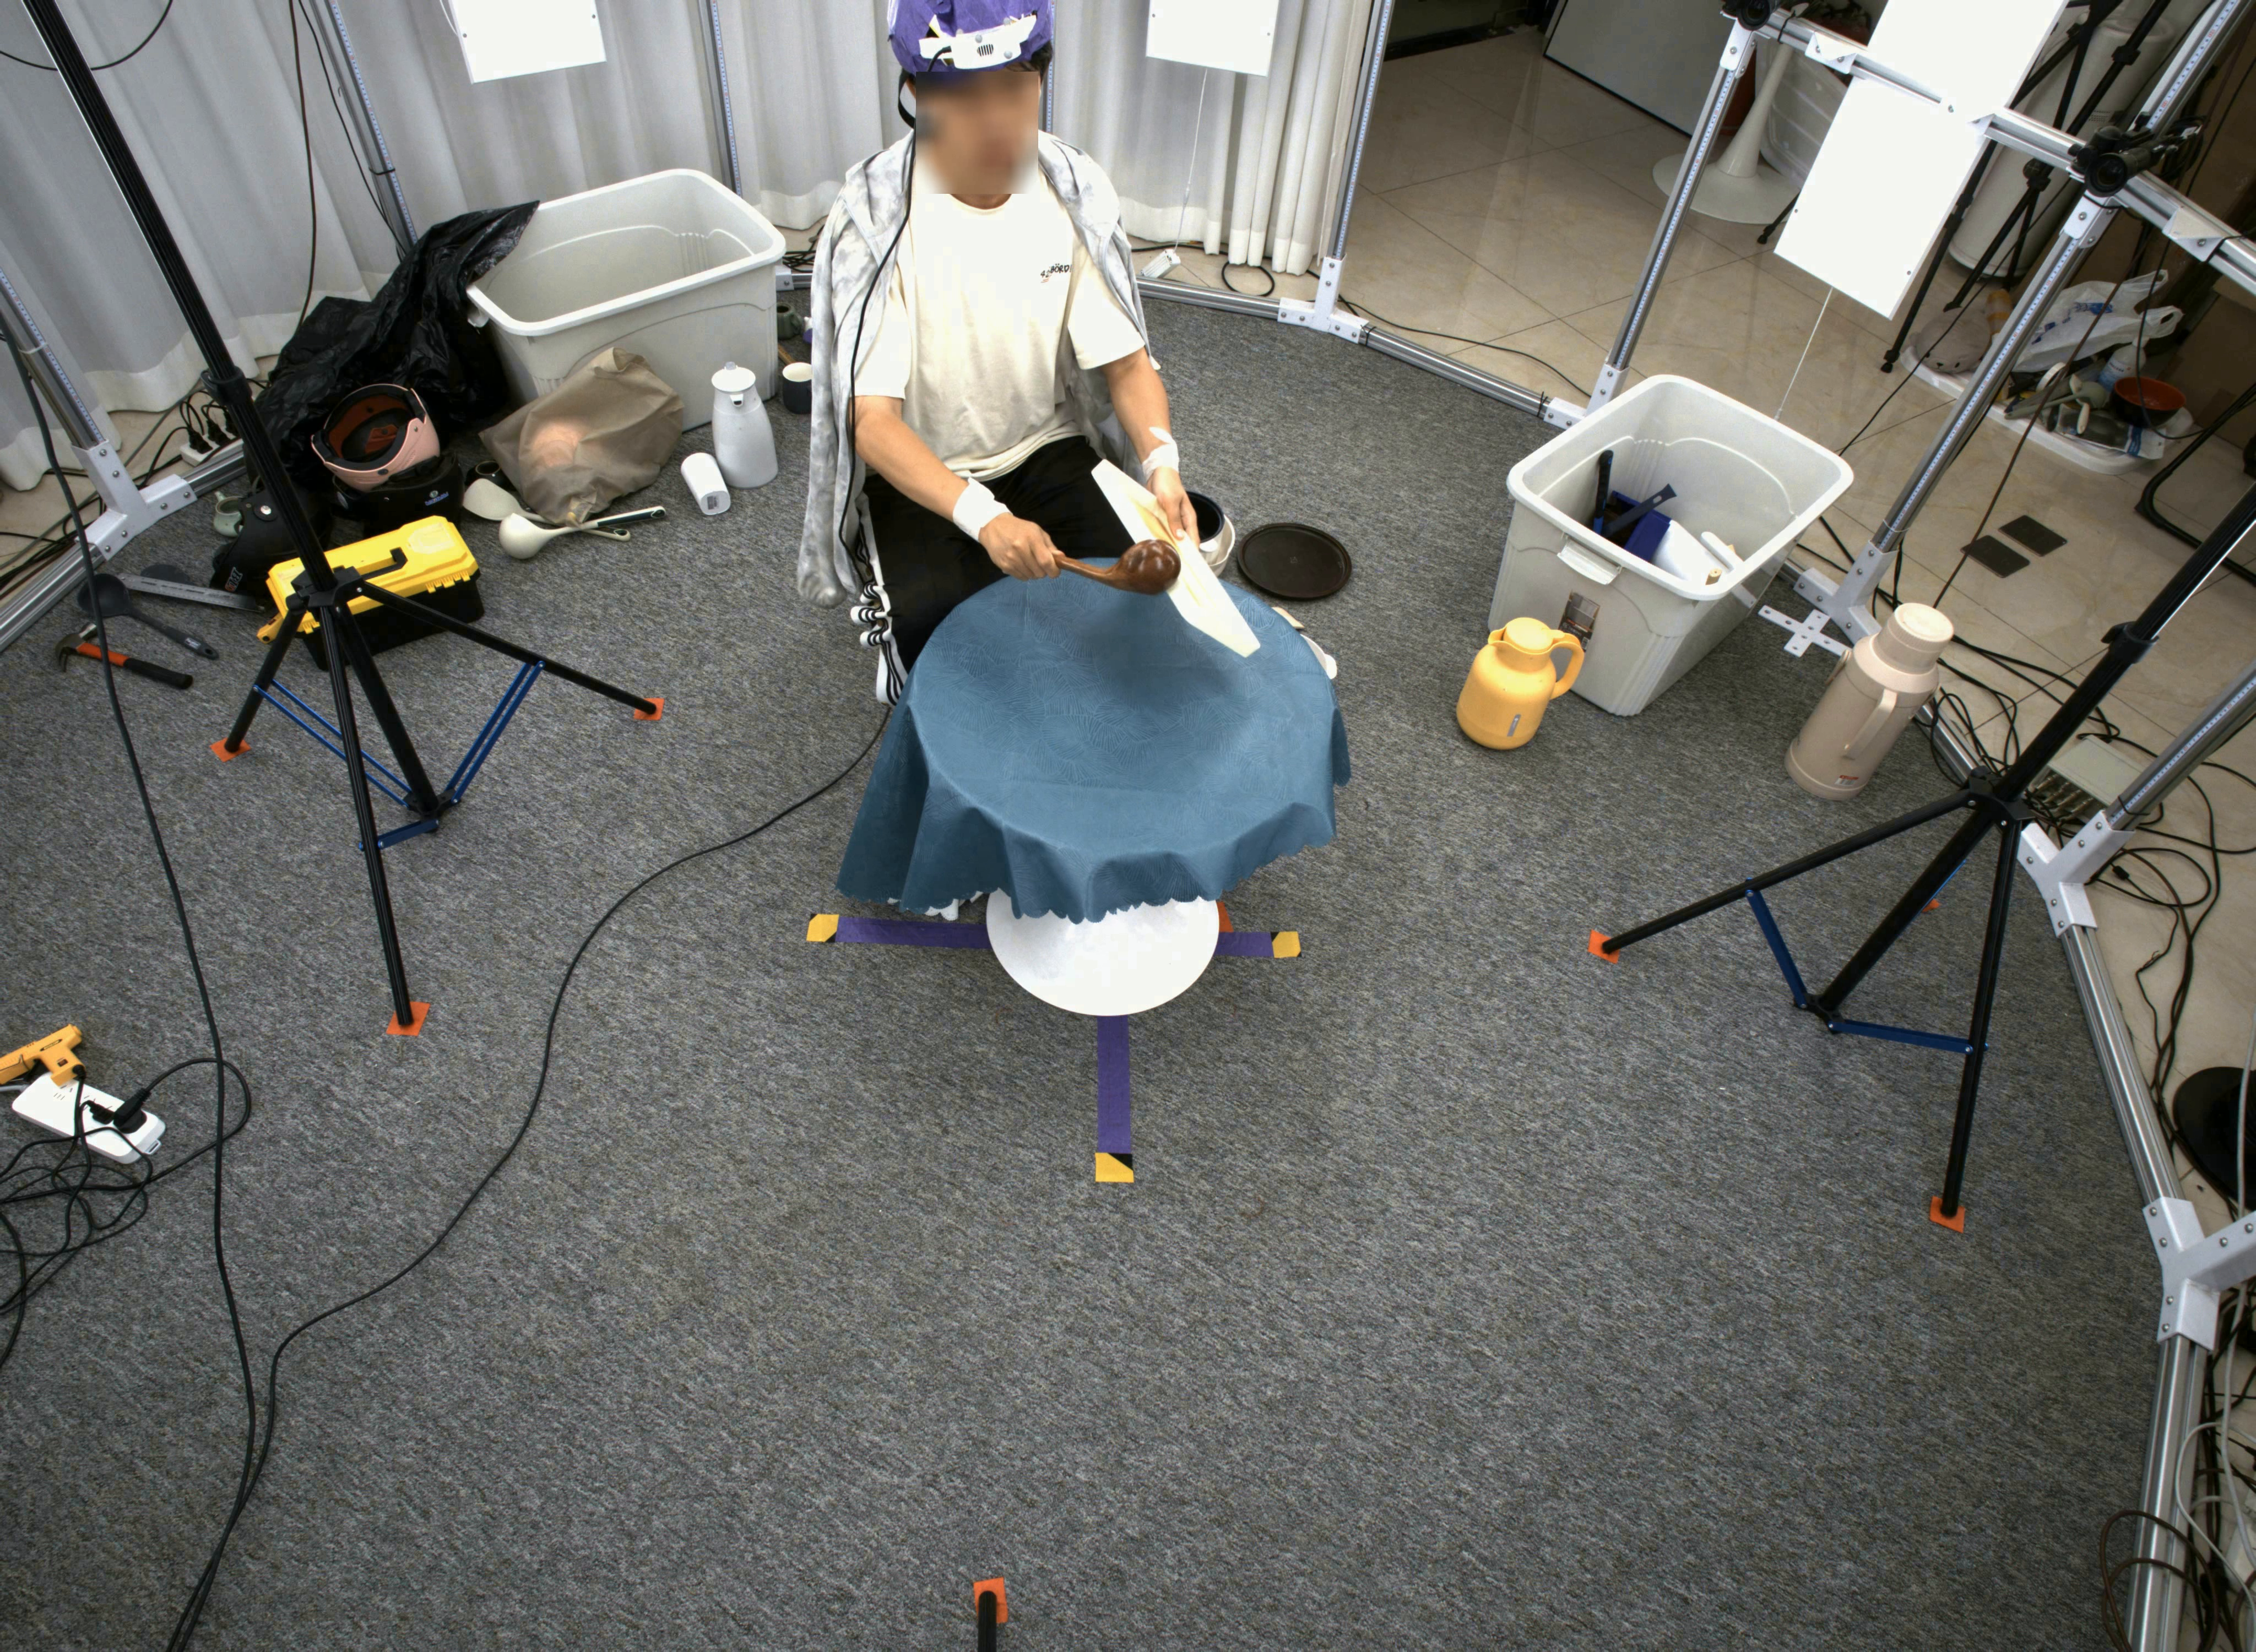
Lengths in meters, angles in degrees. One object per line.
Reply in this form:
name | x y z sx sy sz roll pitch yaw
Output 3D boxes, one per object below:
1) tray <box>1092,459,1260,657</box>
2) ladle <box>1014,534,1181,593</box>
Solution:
tray | 0.067 -0.373 1.799 0.189 0.027 0.306 19 36 -54
ladle | -0.043 -0.363 1.724 0.277 0.080 0.077 22 60 44
